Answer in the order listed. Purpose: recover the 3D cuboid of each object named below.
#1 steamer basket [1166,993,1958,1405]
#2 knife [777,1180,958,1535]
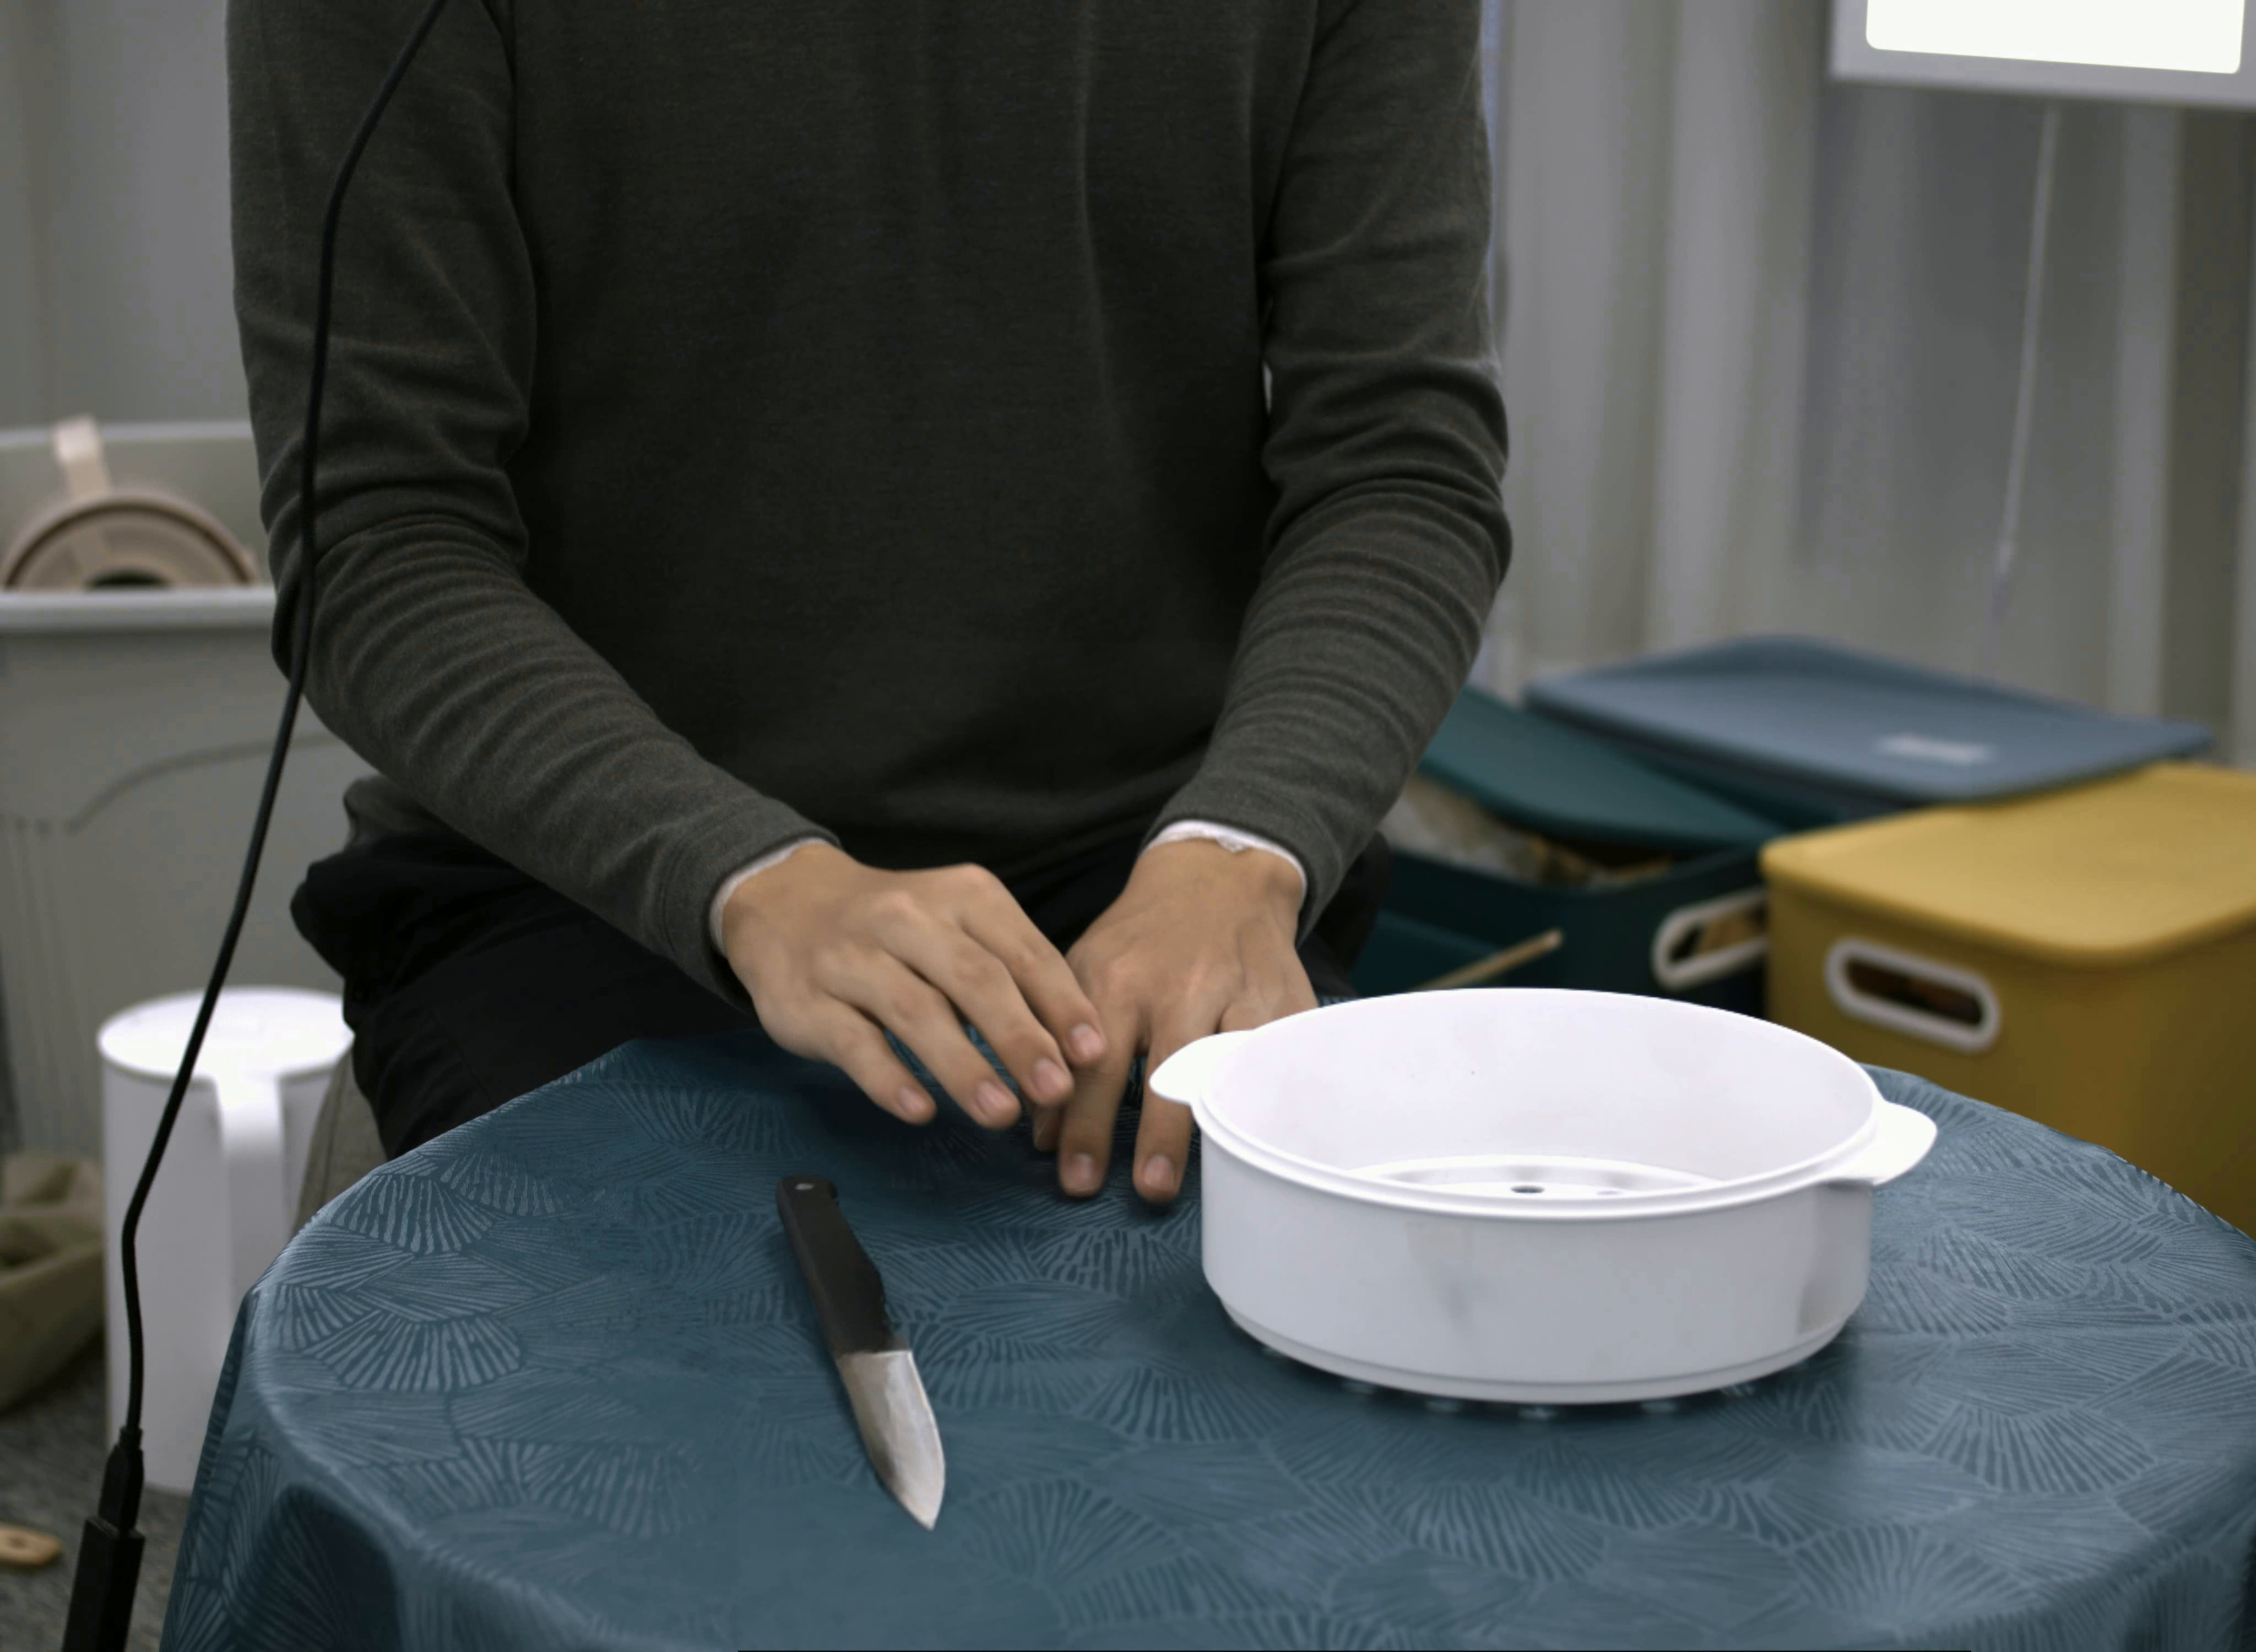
[{"bbox_3d":[0.123,0.107,1.522,0.228,0.070,0.202,6,16,21],"label":"steamer basket"},{"bbox_3d":[-0.074,0.148,1.474,0.024,0.016,0.236,-4,18,-12],"label":"knife"}]
